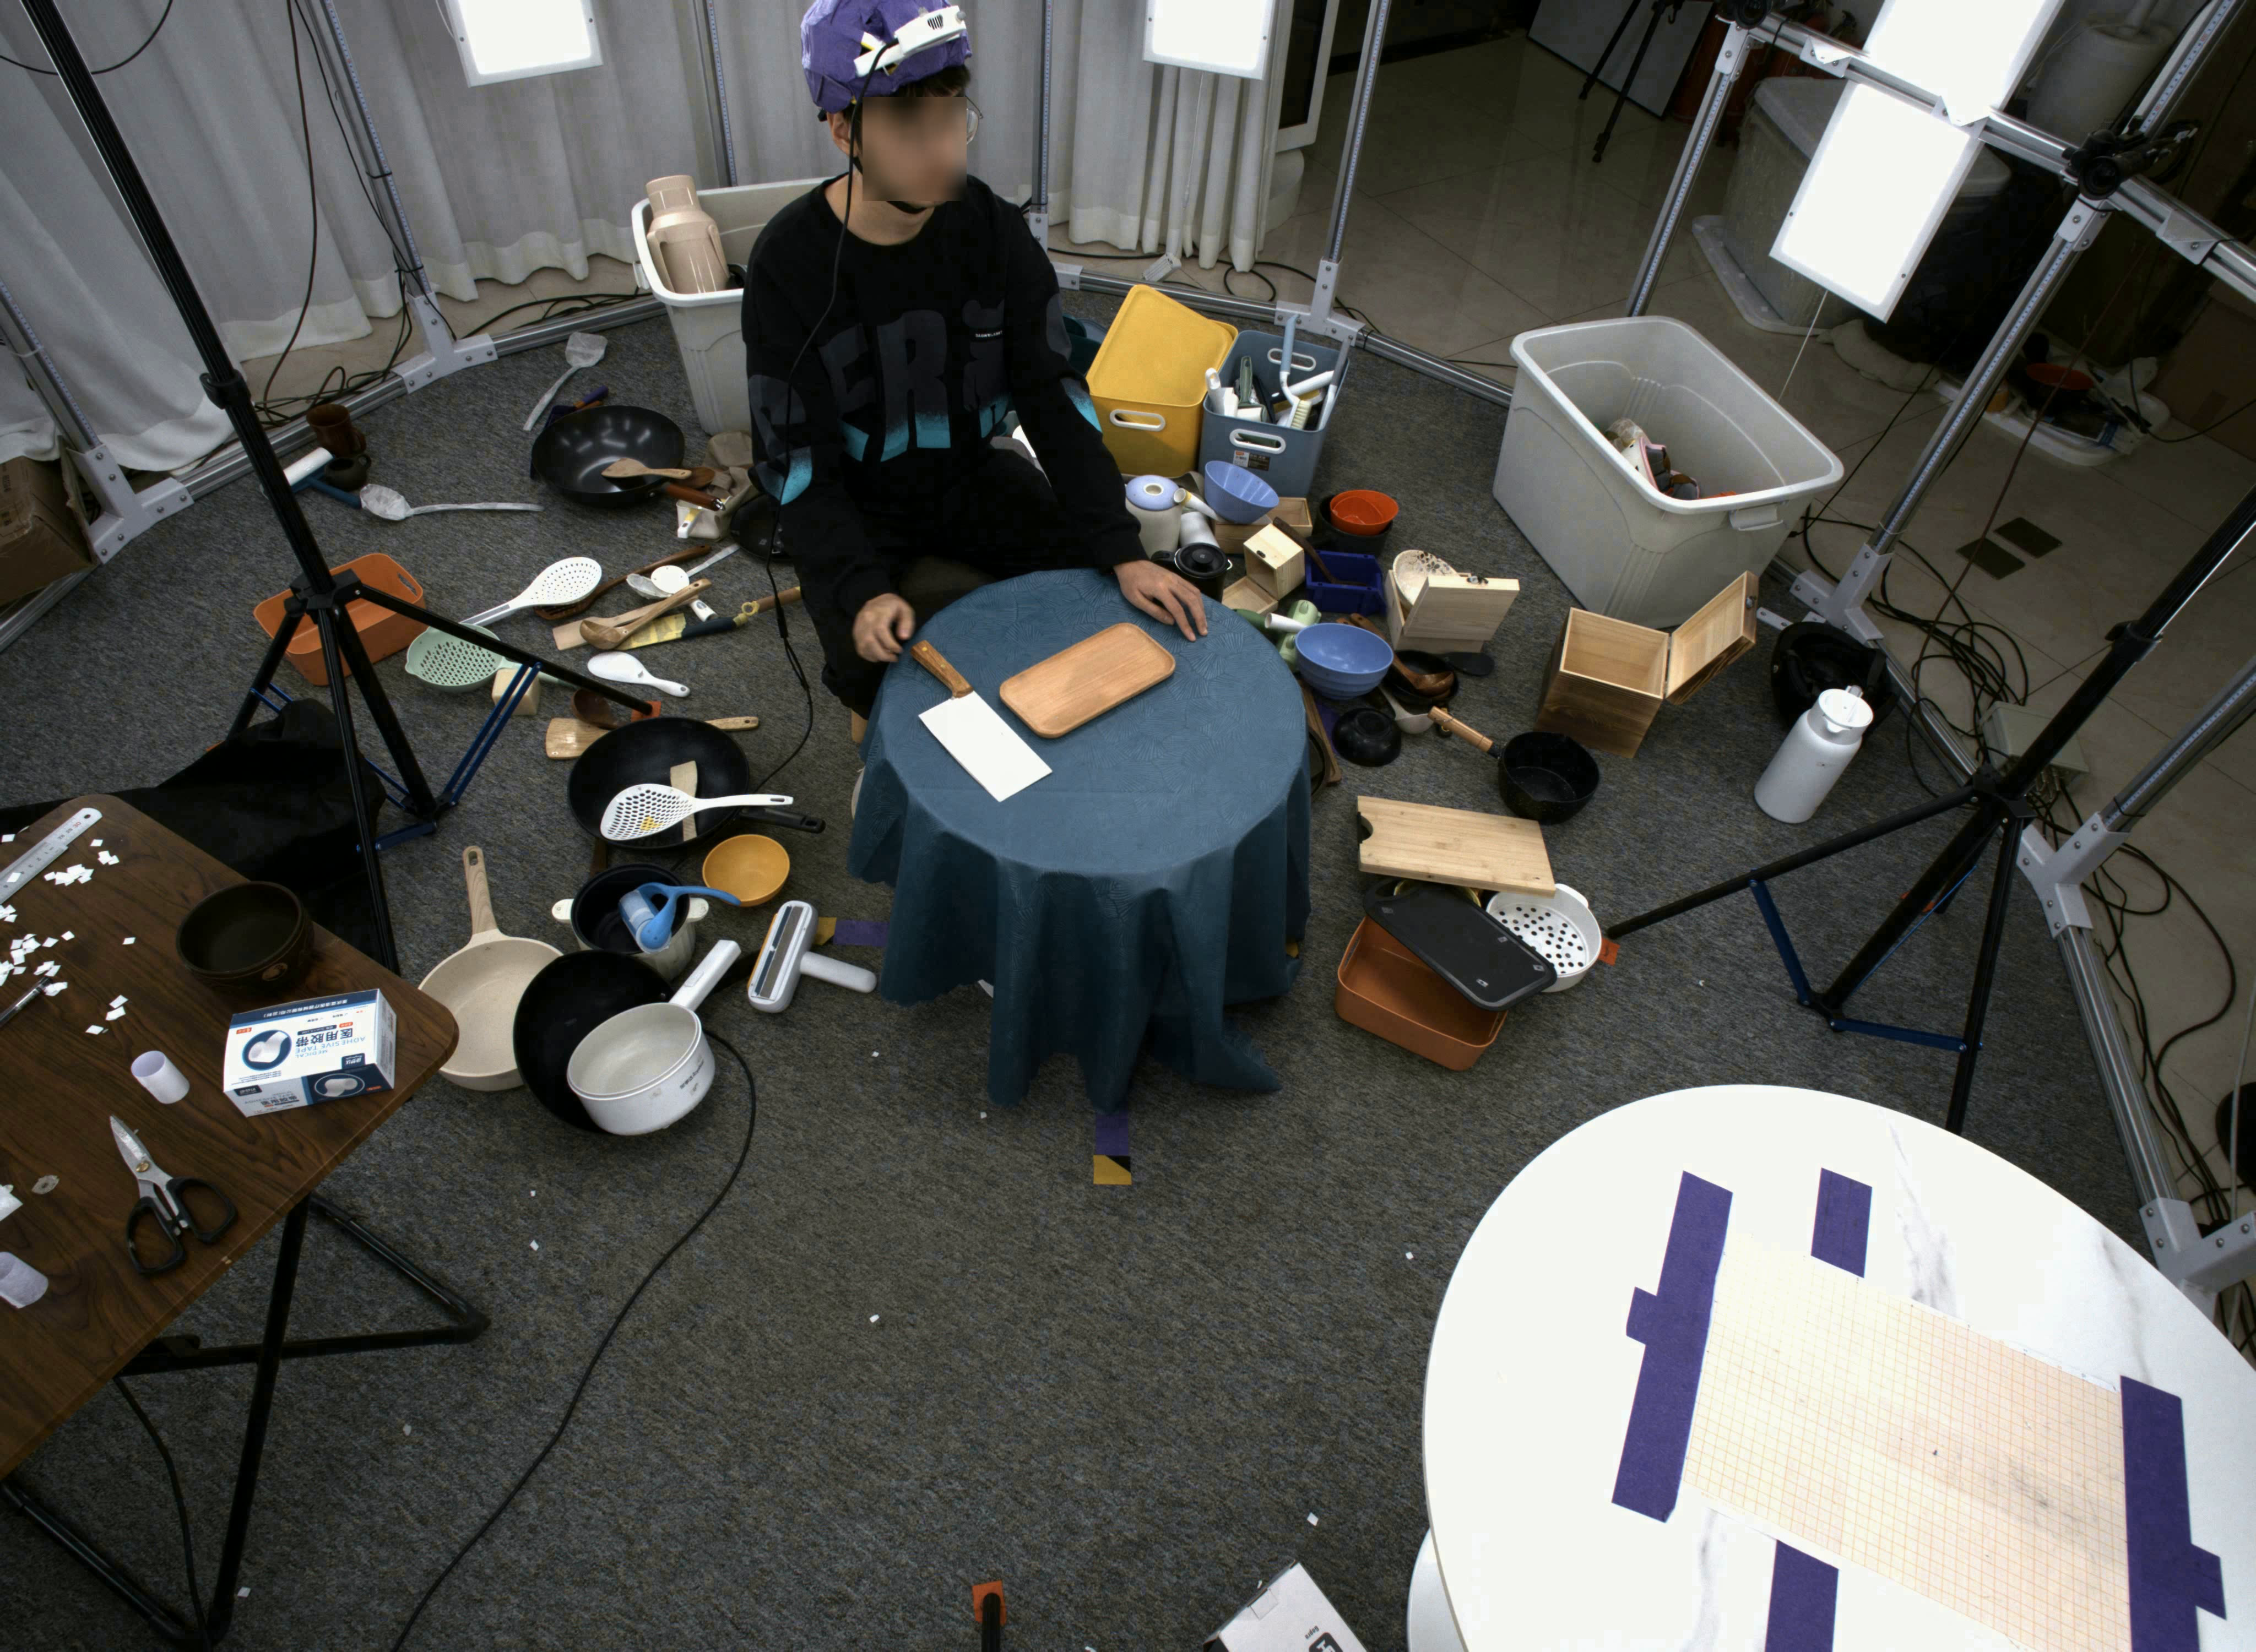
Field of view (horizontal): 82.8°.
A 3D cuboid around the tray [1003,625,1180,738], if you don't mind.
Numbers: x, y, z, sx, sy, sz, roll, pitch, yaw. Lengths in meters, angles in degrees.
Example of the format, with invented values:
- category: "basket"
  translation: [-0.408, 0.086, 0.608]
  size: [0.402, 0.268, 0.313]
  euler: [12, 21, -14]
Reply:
- category: "tray"
  translation: [-0.050, -0.208, 1.836]
  size: [0.252, 0.022, 0.133]
  euler: [-29, 59, -27]

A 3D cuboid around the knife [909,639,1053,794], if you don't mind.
- category: "knife"
  translation: [-0.226, -0.150, 1.774]
  size: [0.093, 0.020, 0.311]
  euler: [-30, 60, -25]
